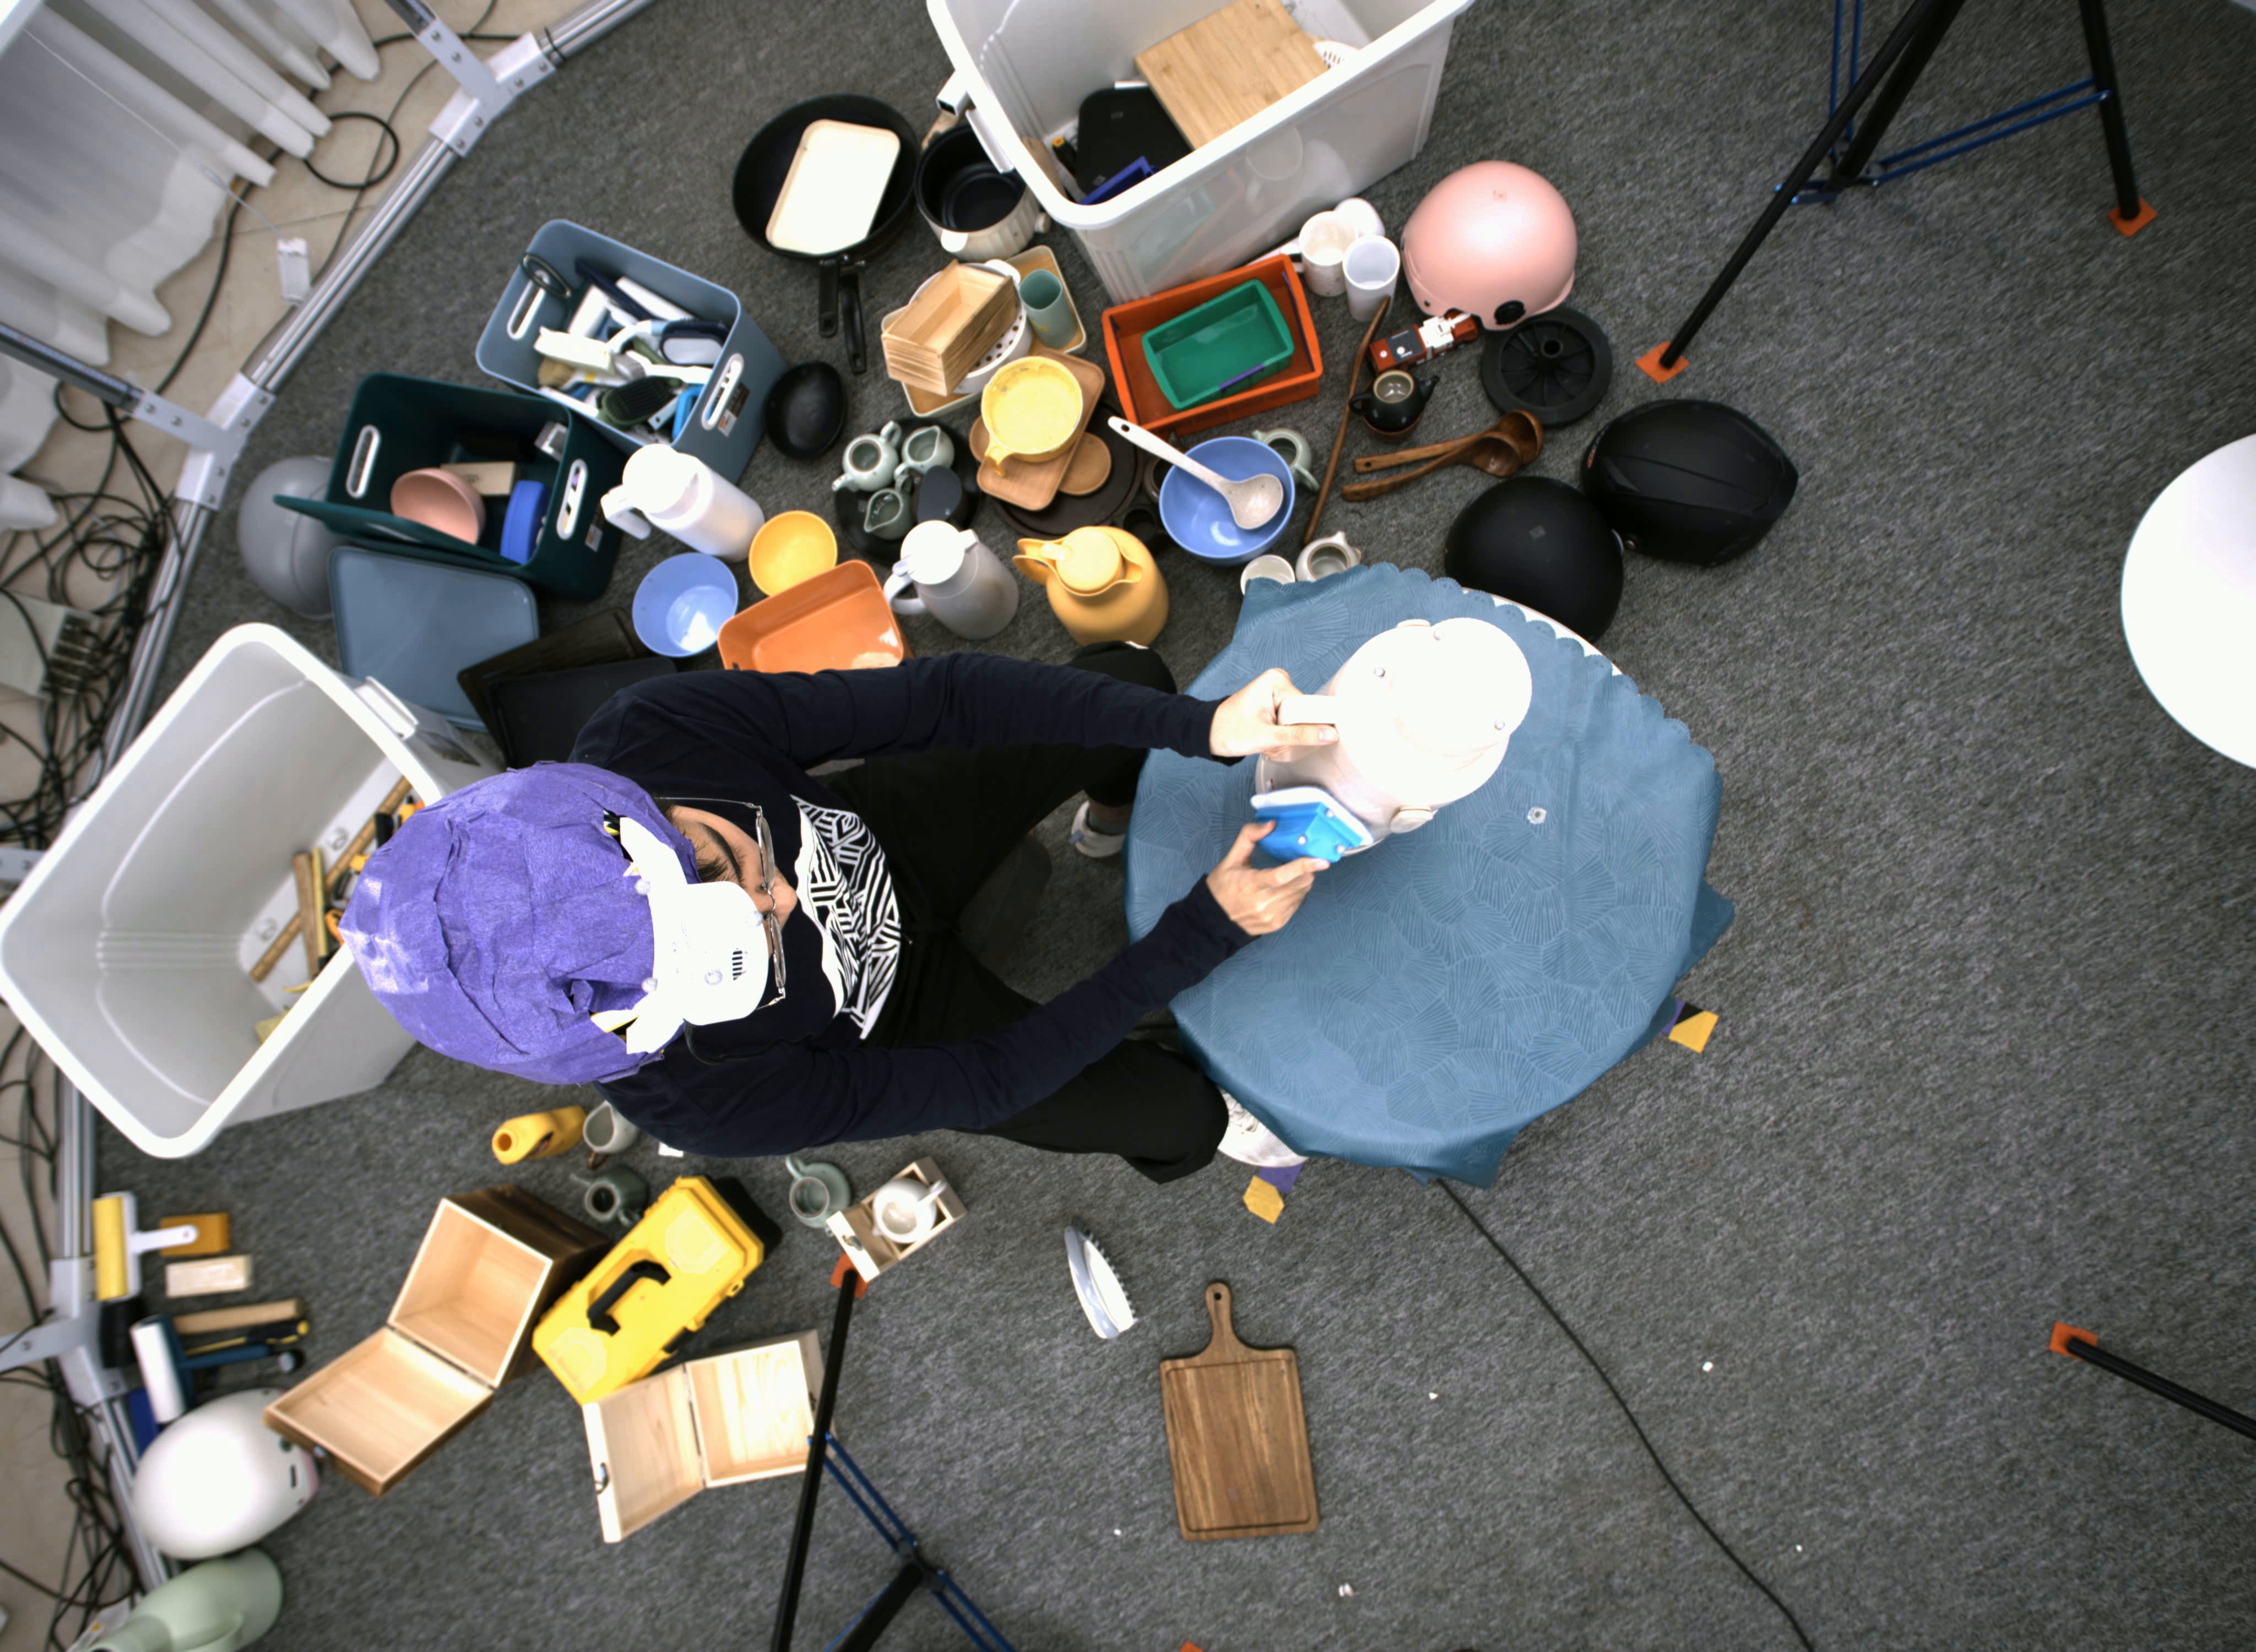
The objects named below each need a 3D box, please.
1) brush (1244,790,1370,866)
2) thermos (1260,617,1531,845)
[{"bbox_3d":[0.160,0.009,1.298,0.084,0.145,0.055,44,72,-18],"label":"brush"},{"bbox_3d":[0.225,-0.084,1.256,0.207,0.409,0.174,1,82,-7],"label":"thermos"}]
